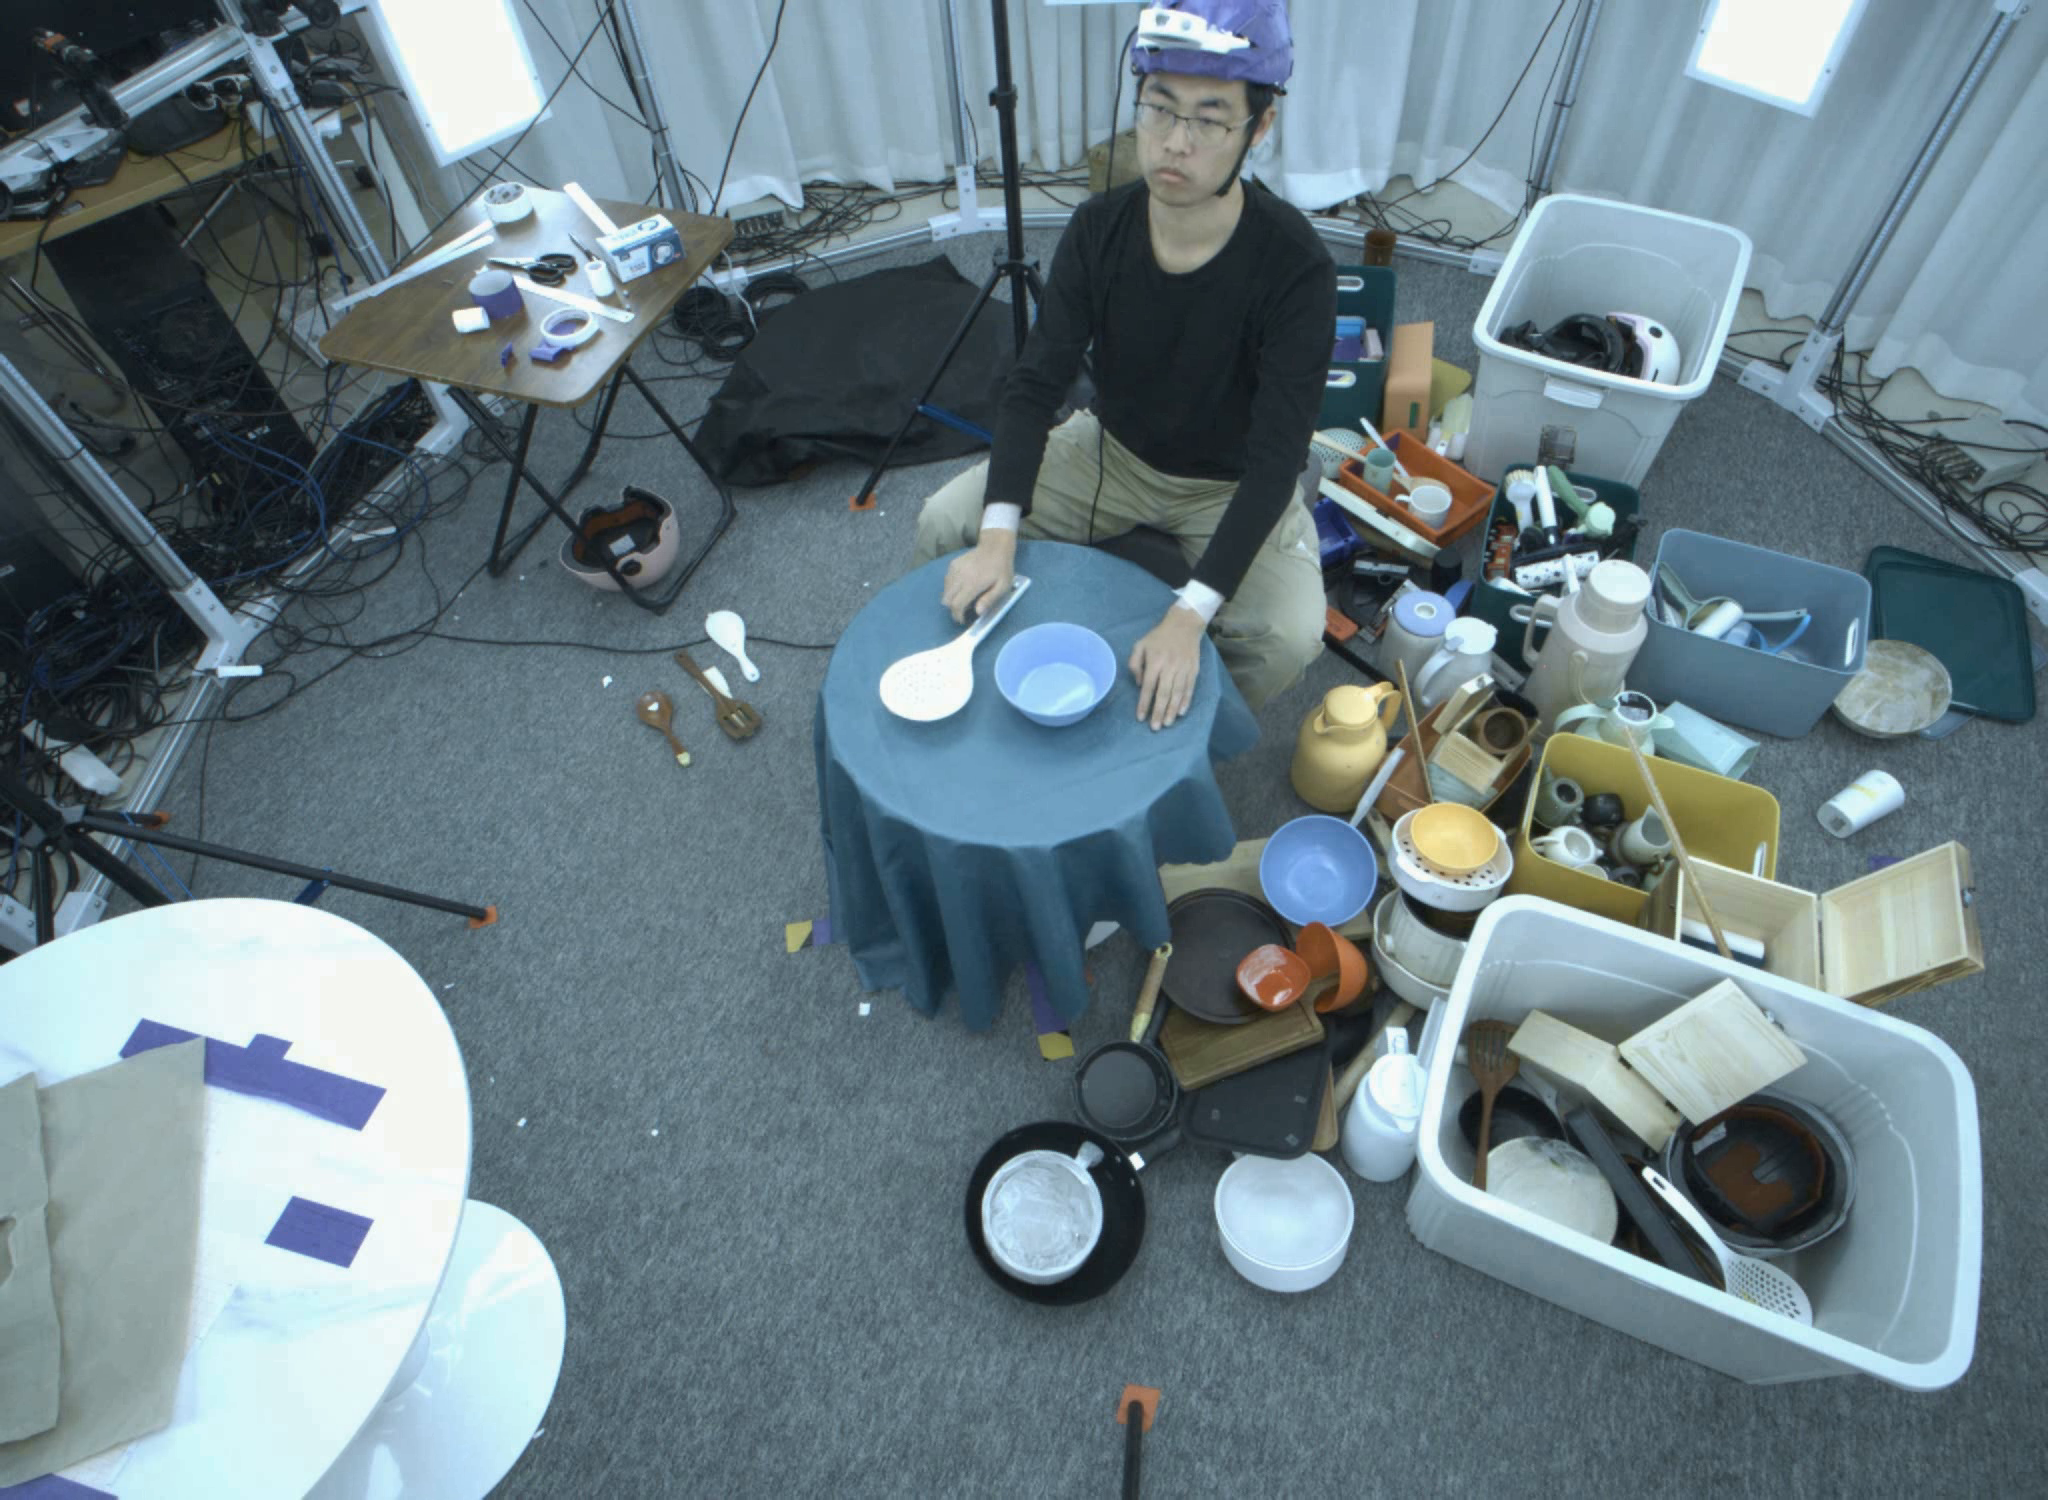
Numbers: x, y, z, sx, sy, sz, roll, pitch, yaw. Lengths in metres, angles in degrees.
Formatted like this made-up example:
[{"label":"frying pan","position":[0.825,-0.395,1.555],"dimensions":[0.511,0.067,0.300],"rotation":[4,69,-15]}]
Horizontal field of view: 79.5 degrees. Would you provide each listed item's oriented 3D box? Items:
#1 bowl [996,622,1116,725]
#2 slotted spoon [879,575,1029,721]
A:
[{"label":"bowl","position":[0.048,-0.102,1.815],"dimensions":[0.176,0.071,0.174],"rotation":[0,55,1]},{"label":"slotted spoon","position":[-0.091,-0.161,1.877],"dimensions":[0.134,0.046,0.351],"rotation":[24,58,19]}]
